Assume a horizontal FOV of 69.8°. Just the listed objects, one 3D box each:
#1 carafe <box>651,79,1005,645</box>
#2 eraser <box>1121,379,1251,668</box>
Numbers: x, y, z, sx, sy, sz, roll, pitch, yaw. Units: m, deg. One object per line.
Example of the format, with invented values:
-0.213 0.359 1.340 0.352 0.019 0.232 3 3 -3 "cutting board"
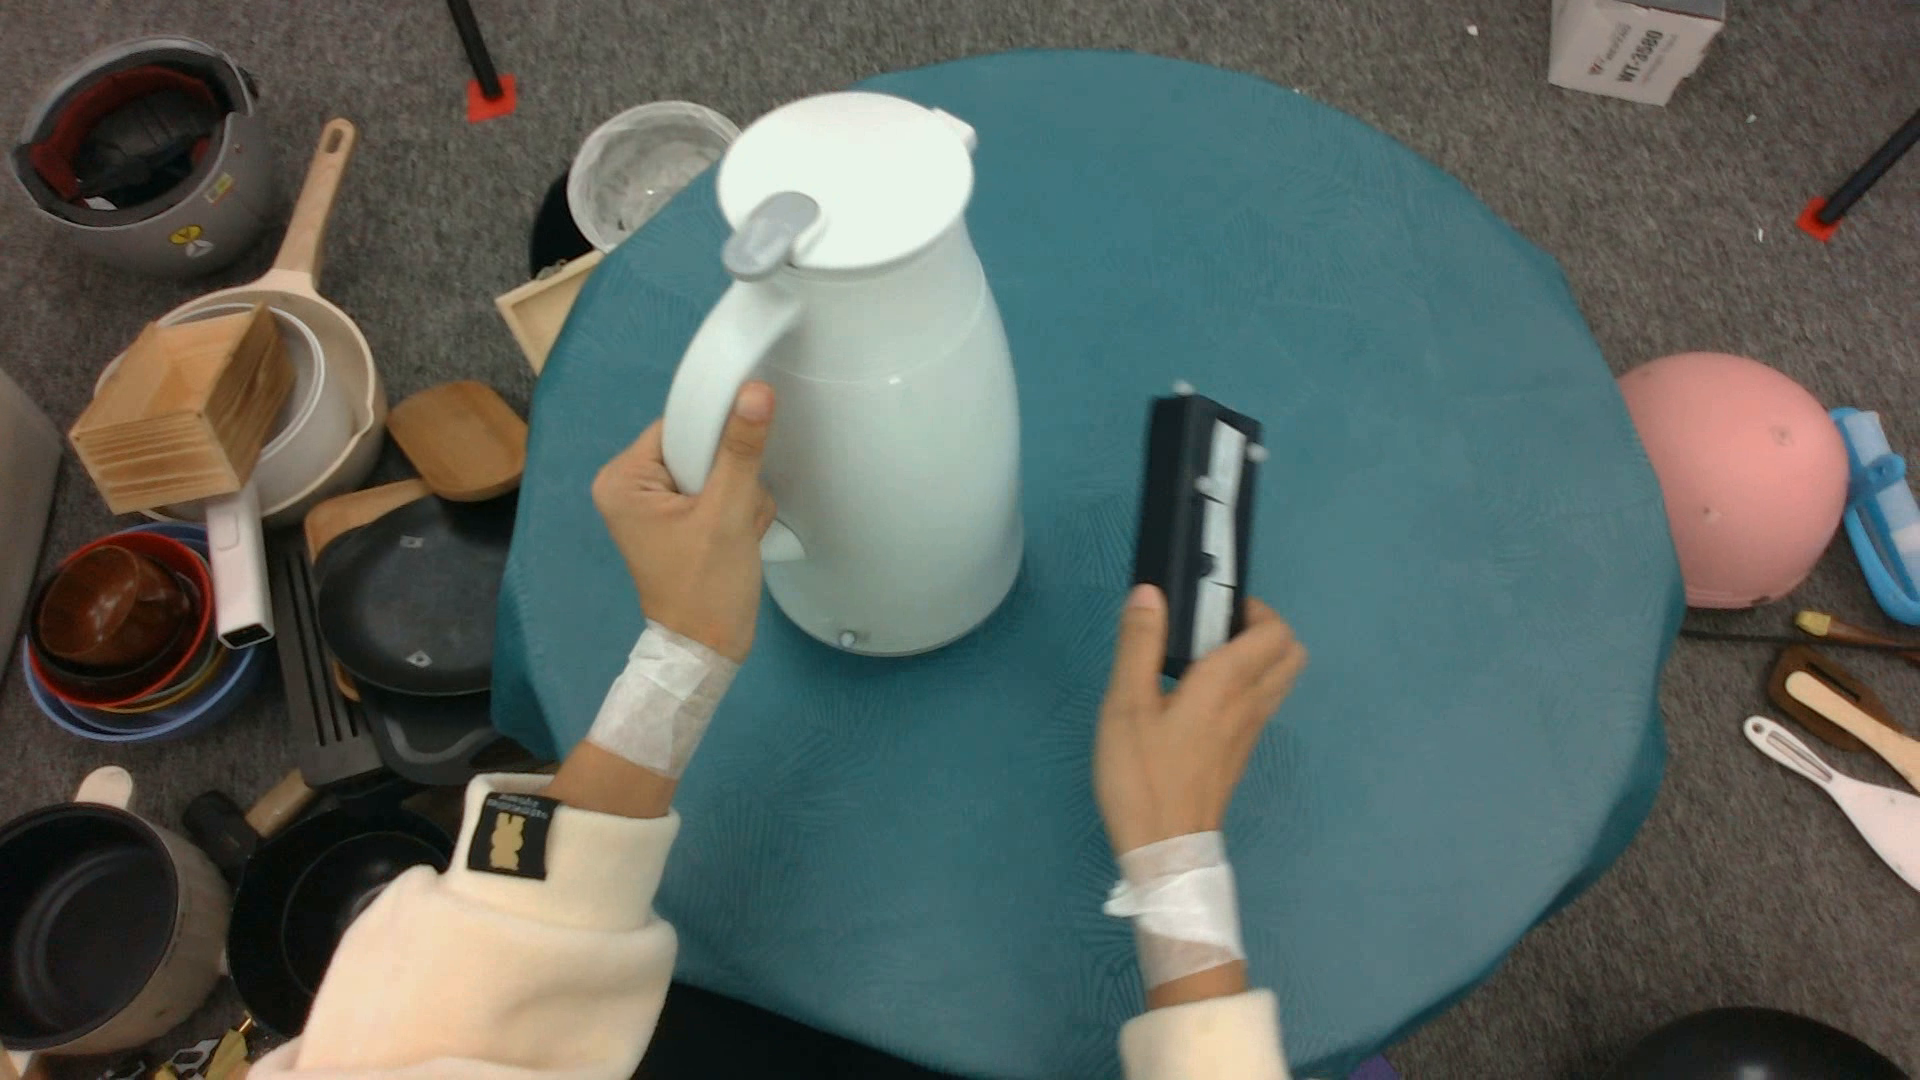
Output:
-0.056 -0.058 0.581 0.132 0.247 0.168 32 63 20 "carafe"
0.102 -0.007 0.620 0.053 0.030 0.126 15 73 -35 "eraser"
